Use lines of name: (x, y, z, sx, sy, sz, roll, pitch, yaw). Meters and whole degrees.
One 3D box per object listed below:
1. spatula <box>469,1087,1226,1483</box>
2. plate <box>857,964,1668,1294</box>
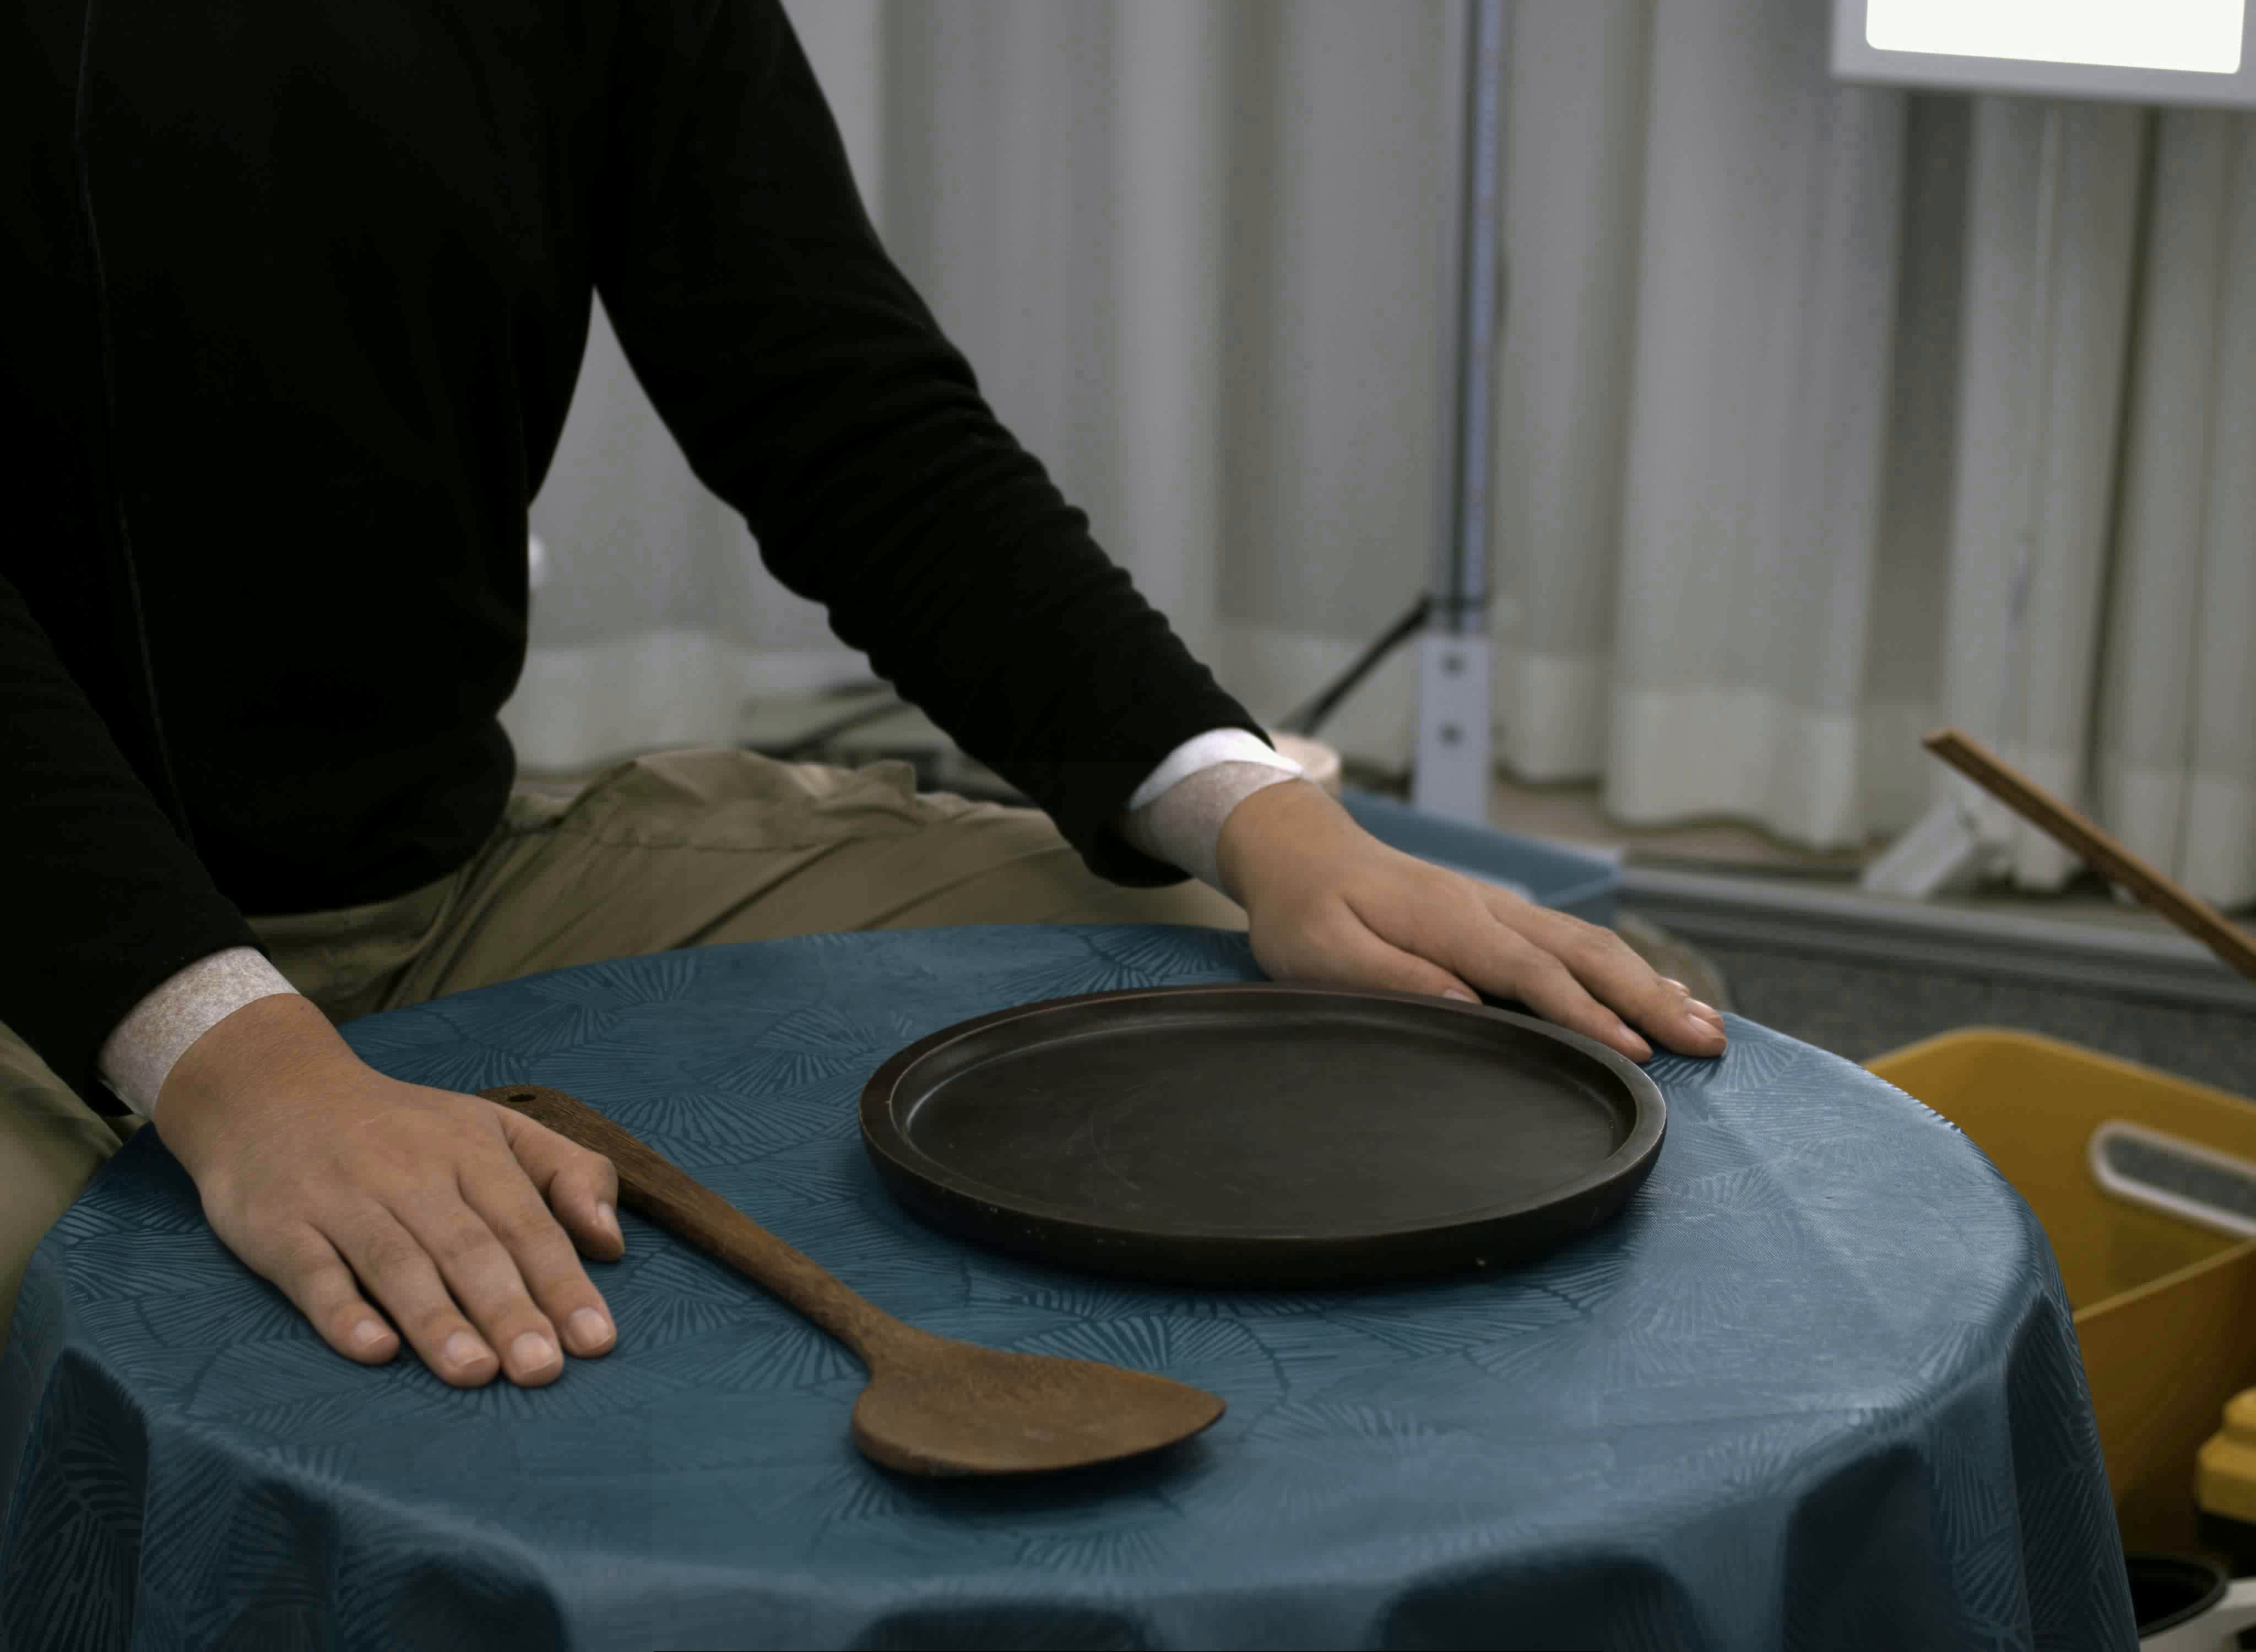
spatula: (-0.105, 0.127, 1.536, 0.096, 0.016, 0.381, -8, 17, -31)
plate: (0.042, 0.095, 1.641, 0.254, 0.029, 0.253, -1, 16, 1)
